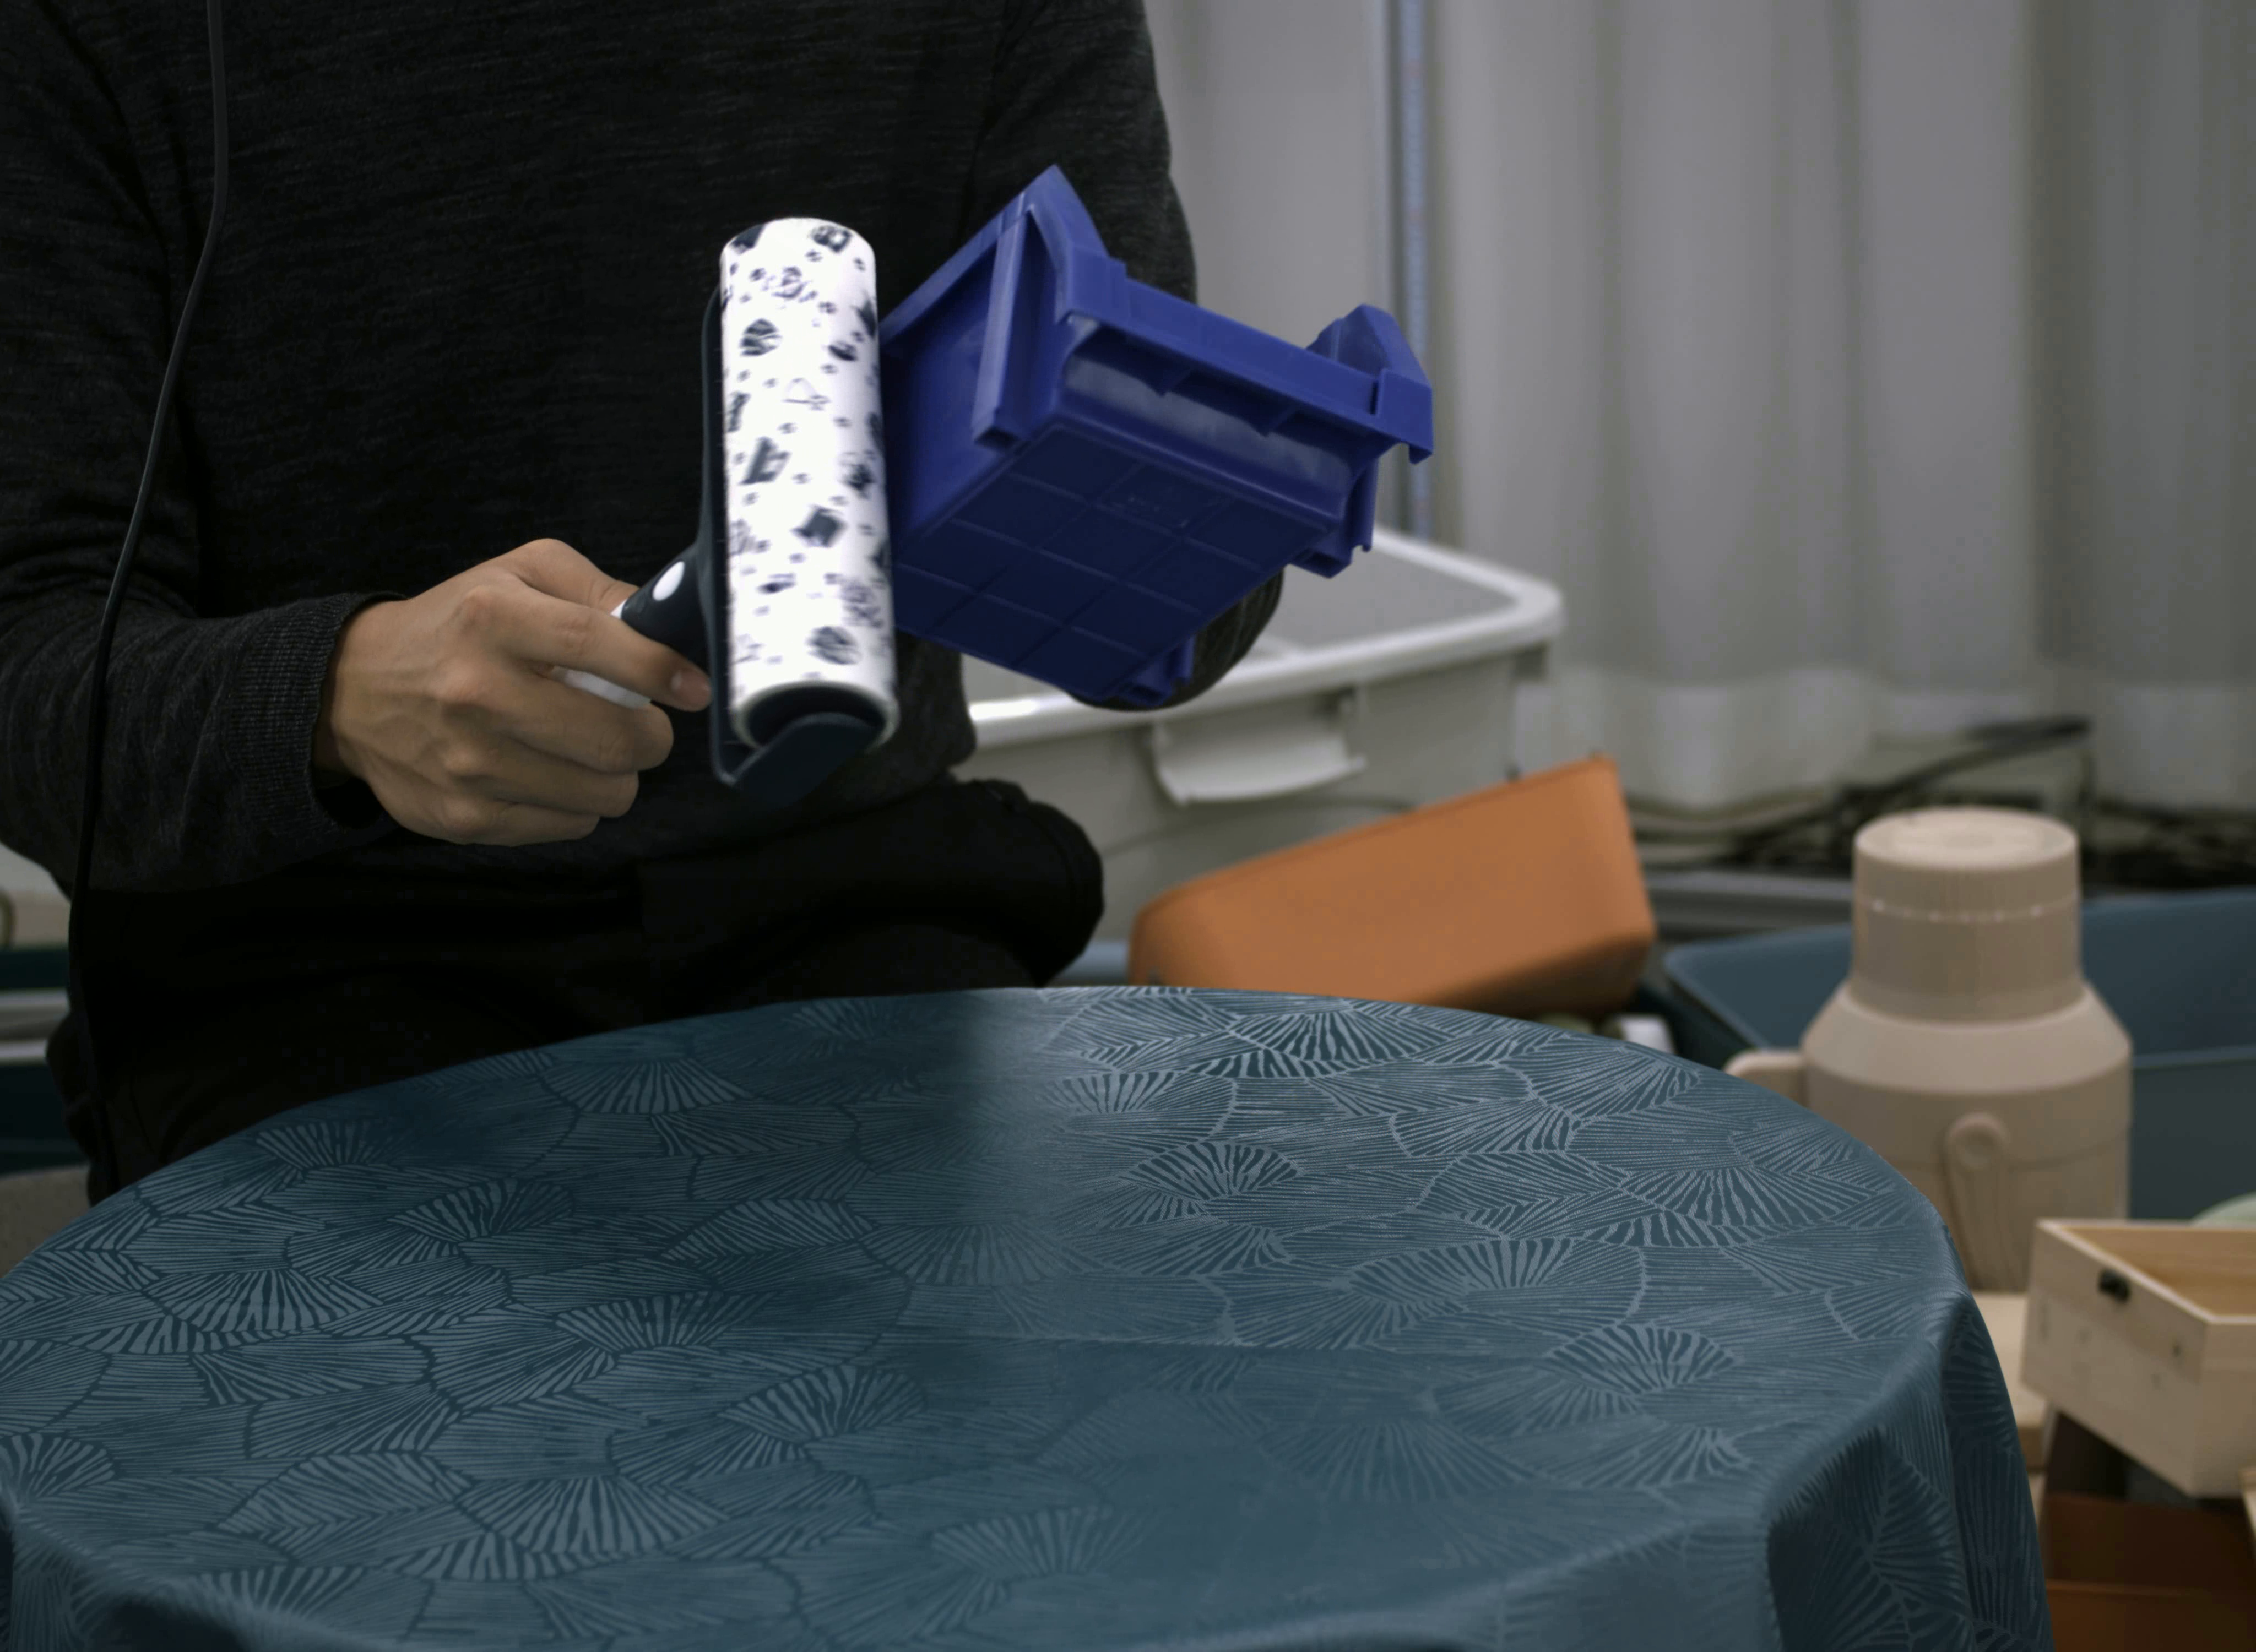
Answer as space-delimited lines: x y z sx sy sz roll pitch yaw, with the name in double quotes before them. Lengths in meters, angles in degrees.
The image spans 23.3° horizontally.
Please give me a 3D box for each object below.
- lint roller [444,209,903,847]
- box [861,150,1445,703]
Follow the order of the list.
"lint roller" -0.150 -0.055 1.673 0.050 0.179 0.245 15 -35 -33
"box" -0.001 -0.117 1.612 0.123 0.083 0.178 21 -34 -22
